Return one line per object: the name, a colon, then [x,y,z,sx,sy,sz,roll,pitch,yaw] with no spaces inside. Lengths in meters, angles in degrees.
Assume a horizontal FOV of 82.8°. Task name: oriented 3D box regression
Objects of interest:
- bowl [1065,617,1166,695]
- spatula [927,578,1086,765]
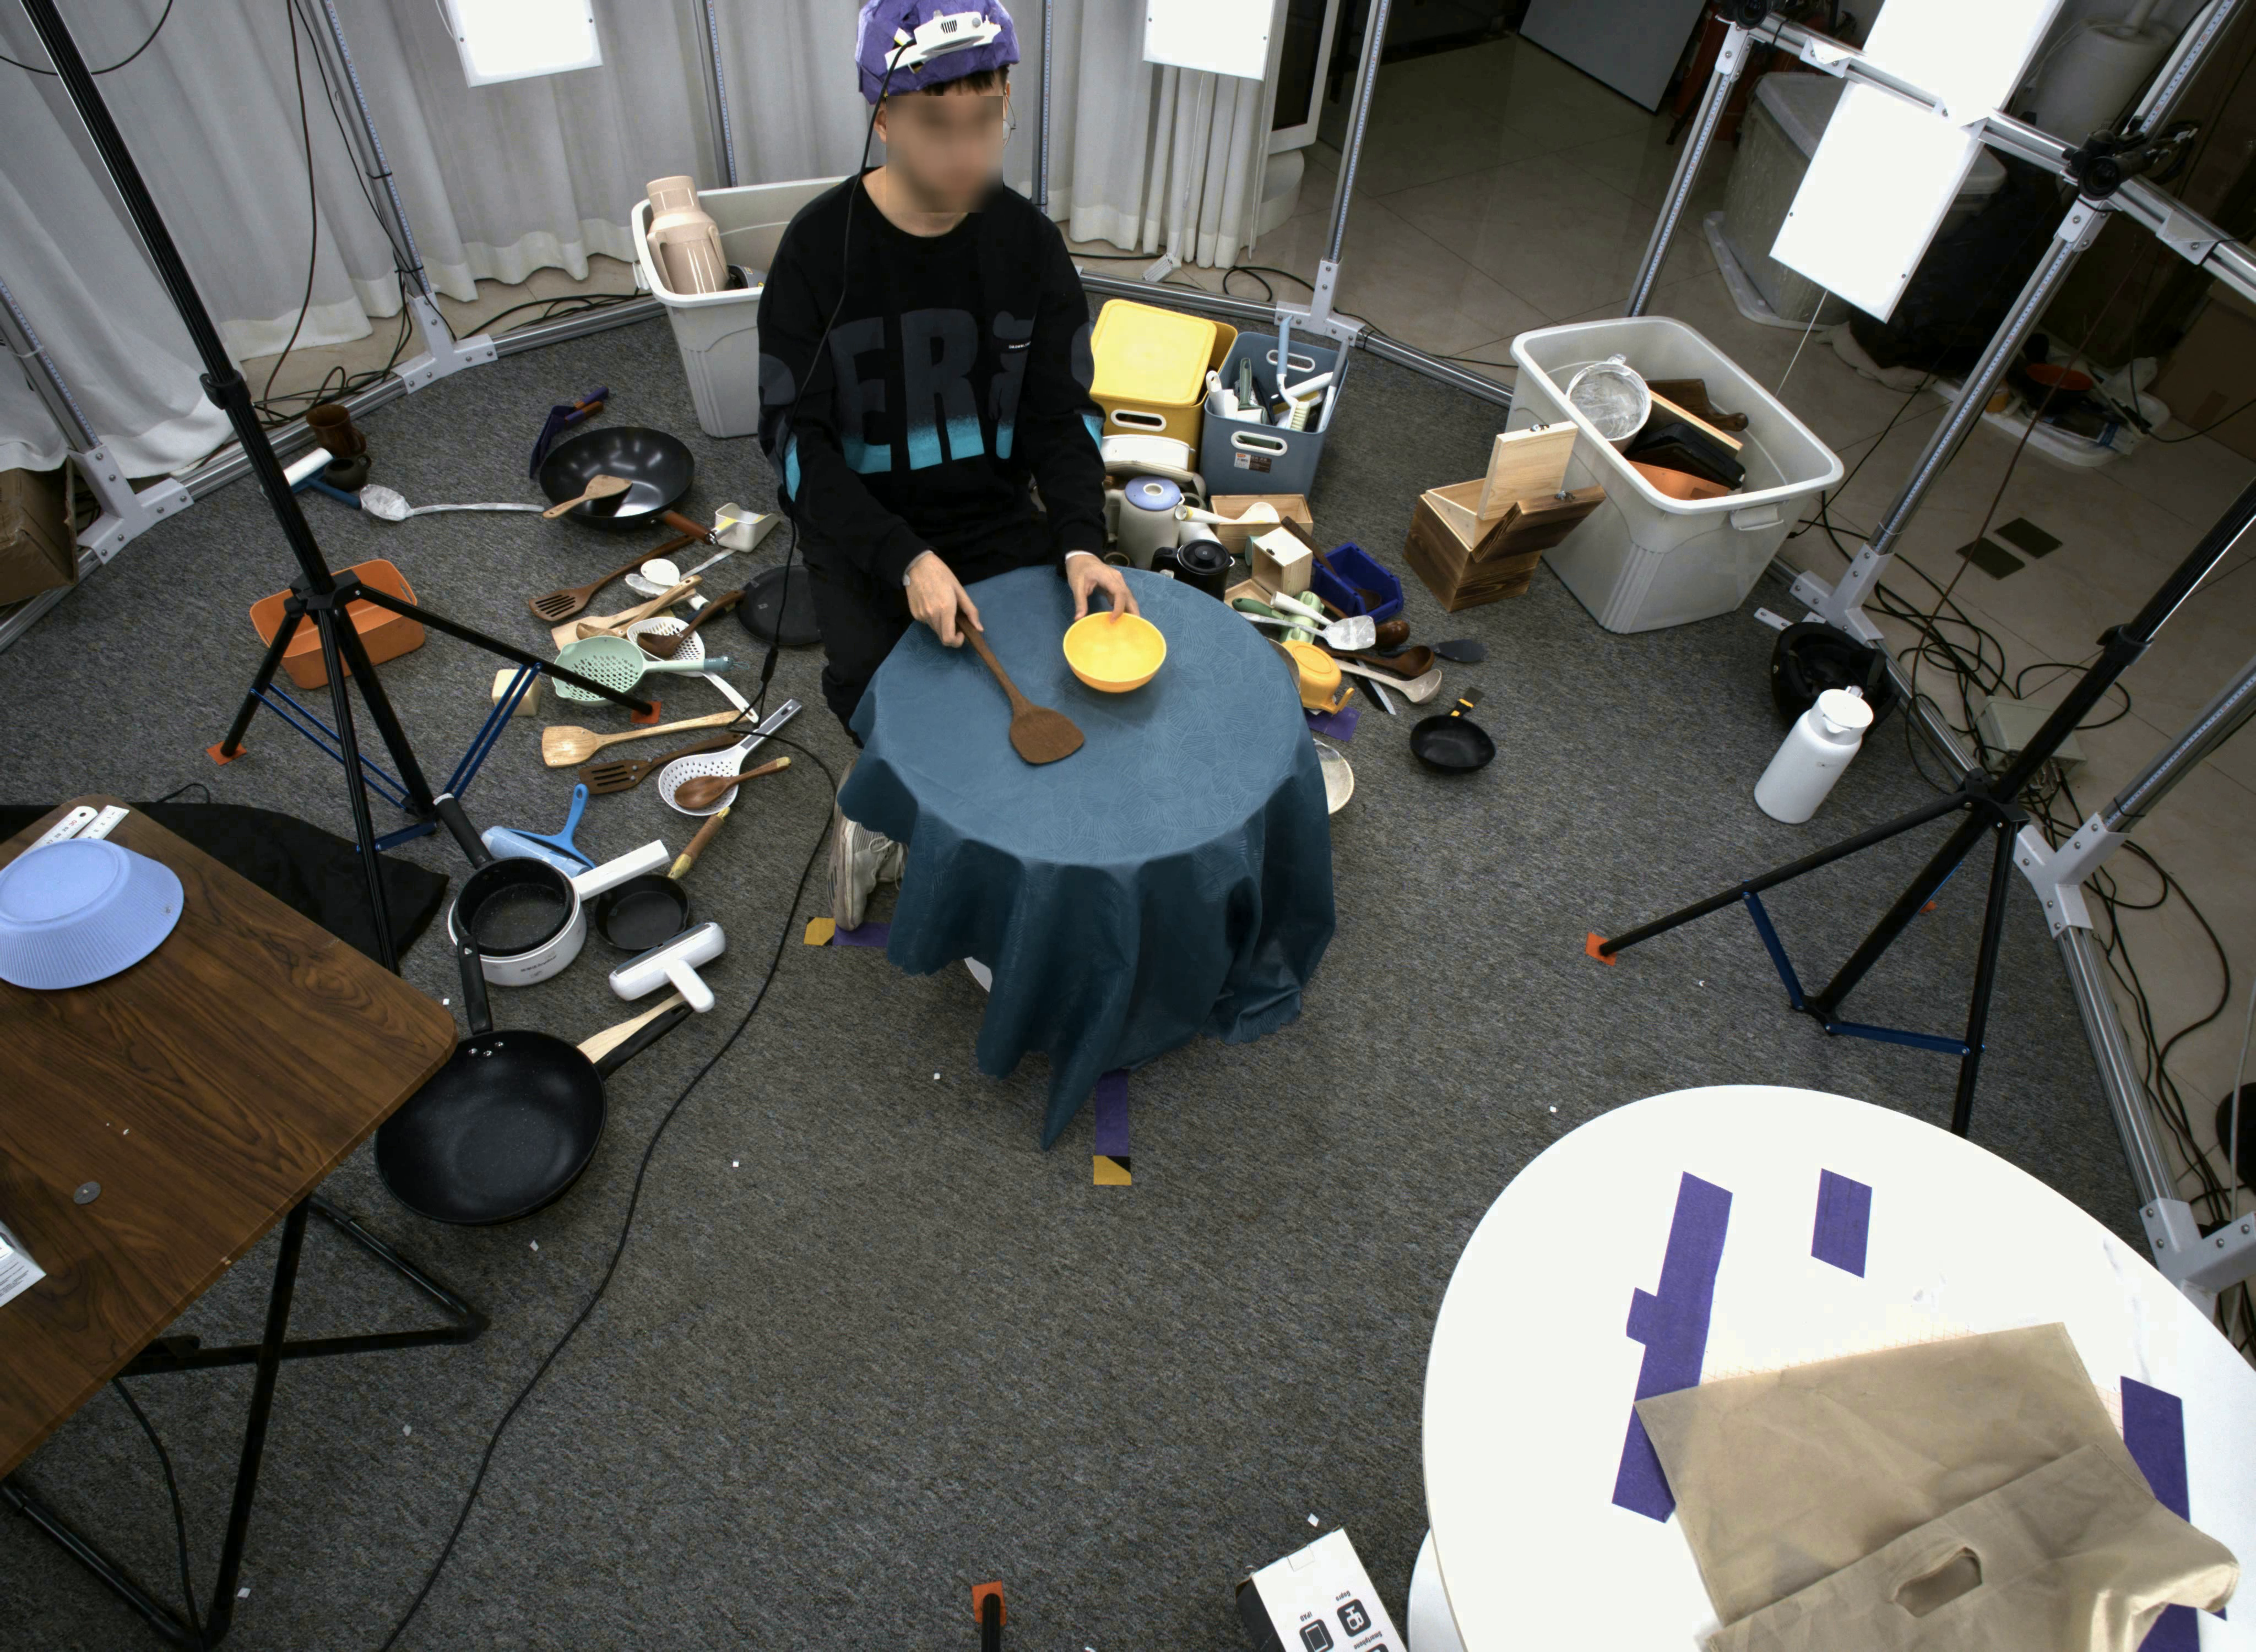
bowl: [-0.020,-0.233,1.851,0.145,0.058,0.149,2,47,-3]
spatula: [-0.192,-0.231,1.845,0.096,0.015,0.393,-24,61,-23]
